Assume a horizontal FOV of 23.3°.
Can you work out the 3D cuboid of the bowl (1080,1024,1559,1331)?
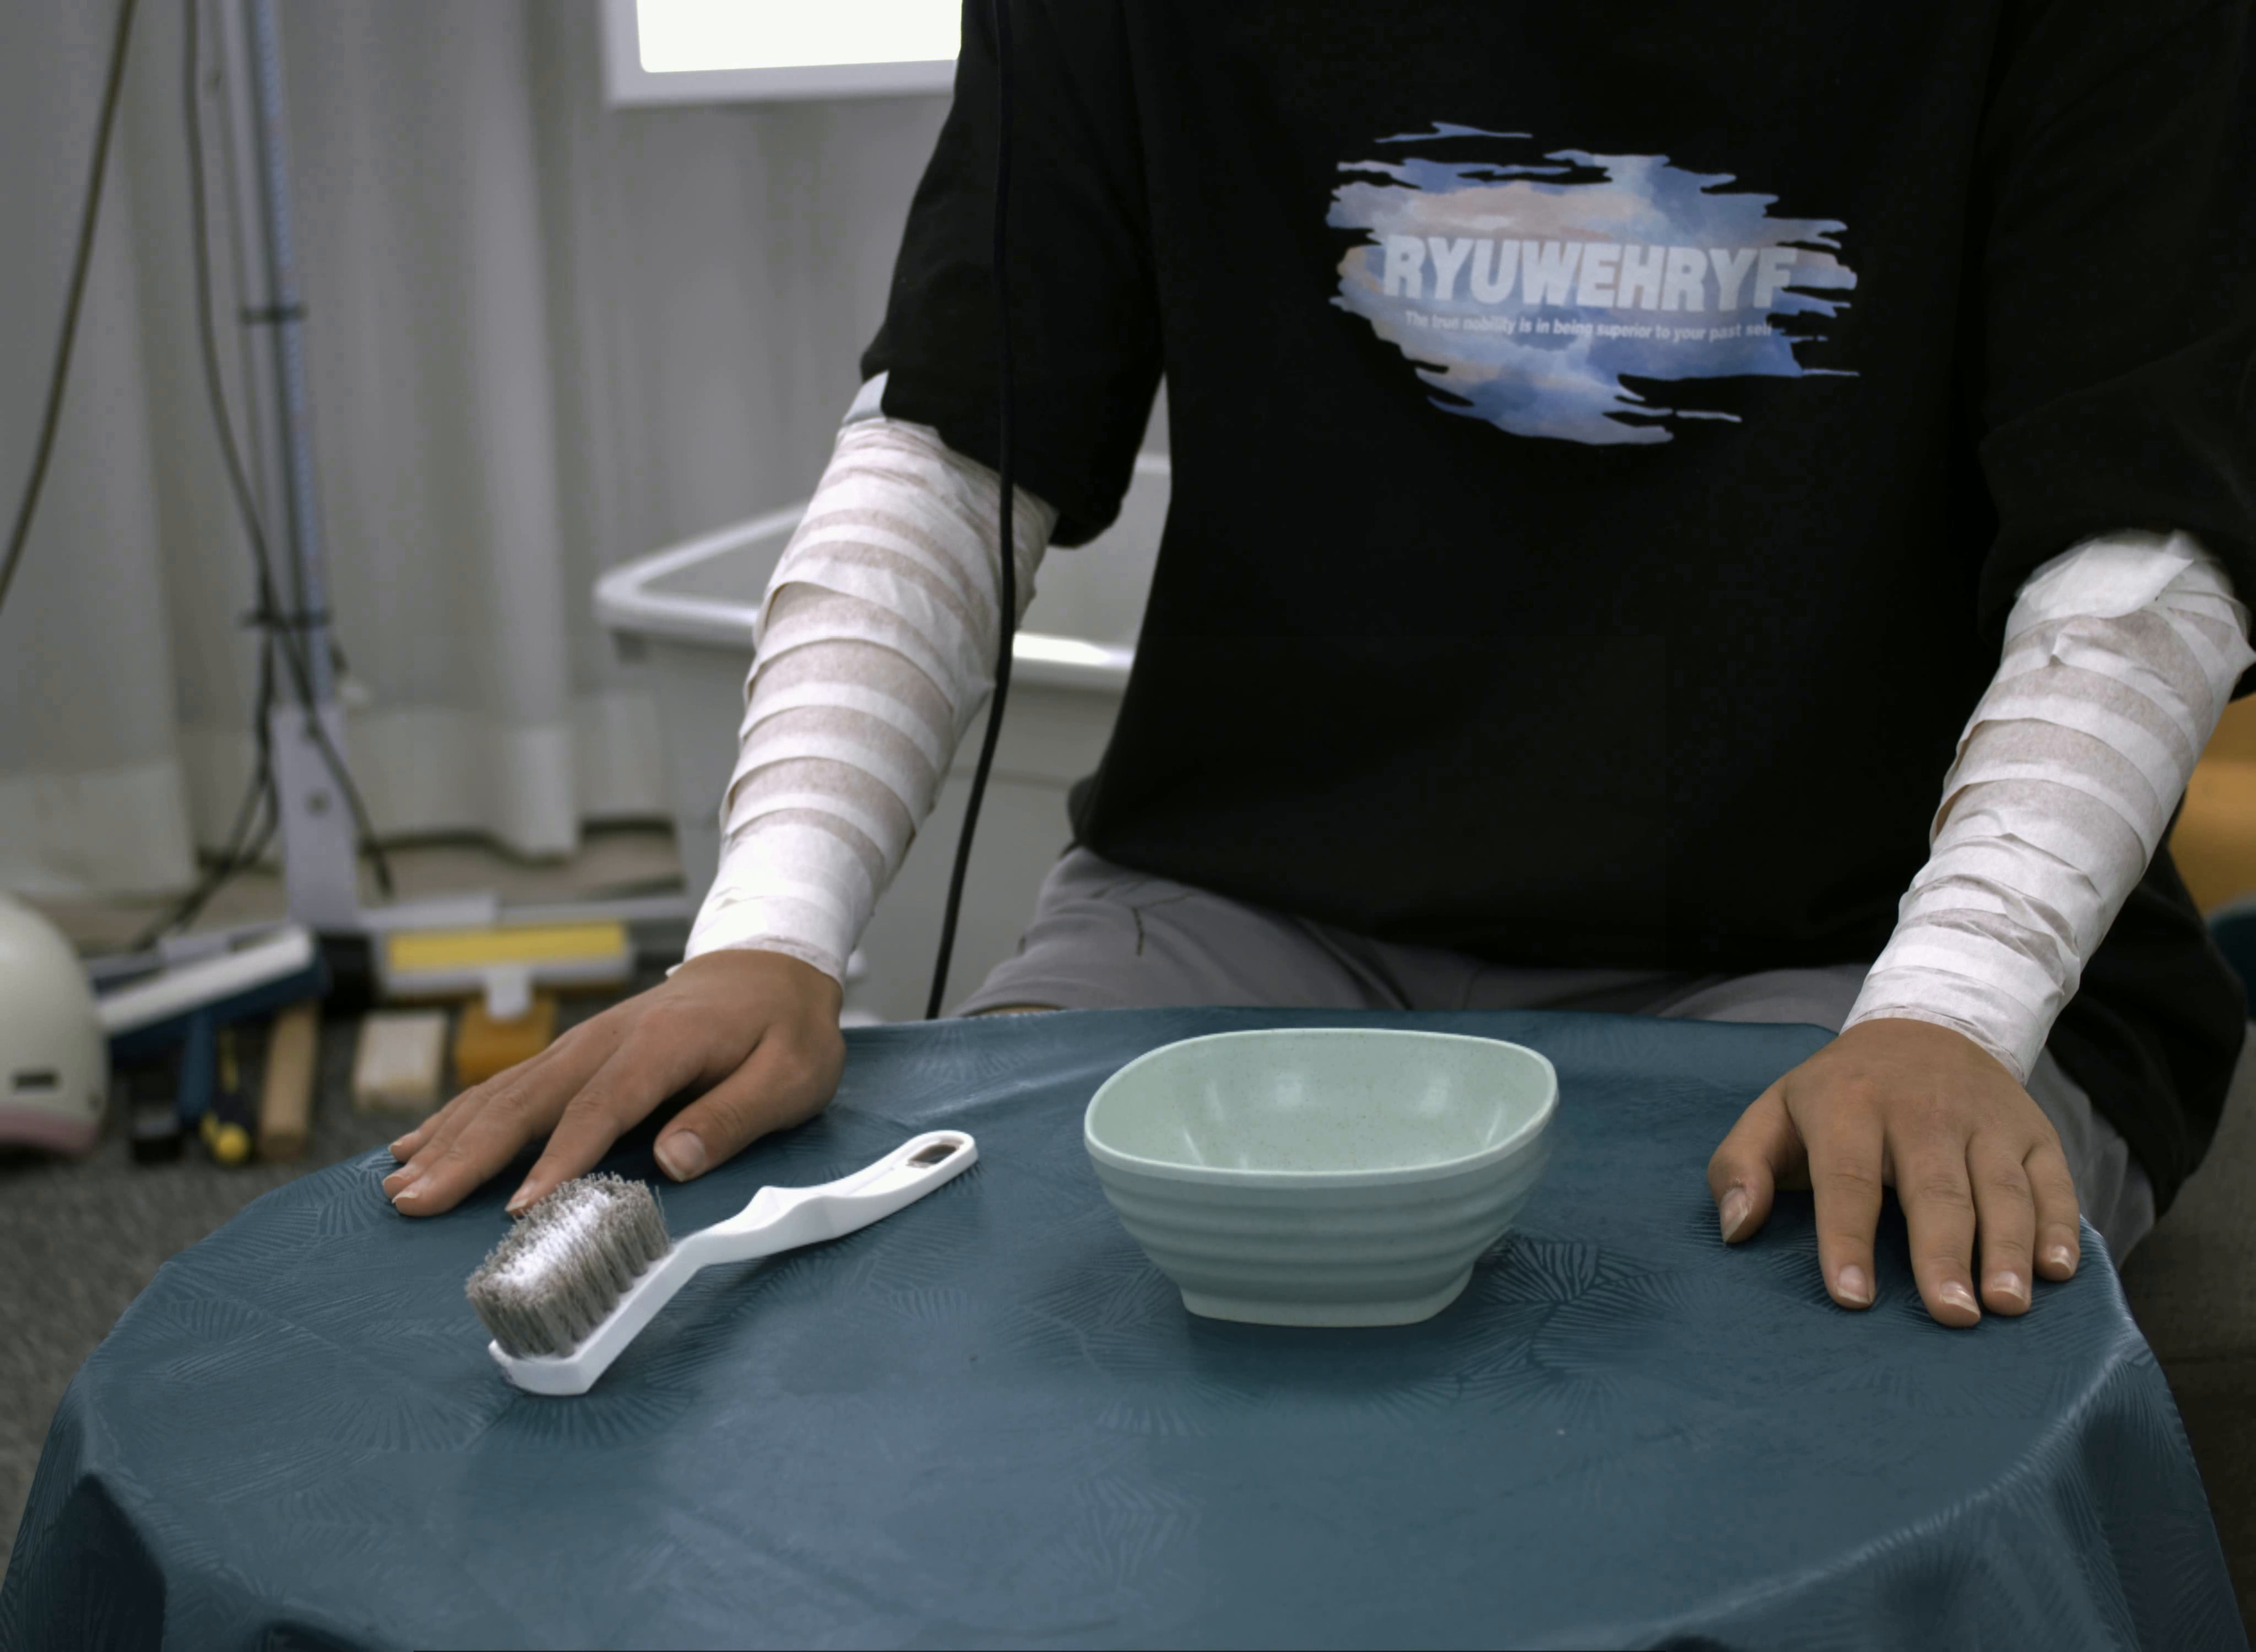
[{"bbox_3d":[0.057,0.107,1.619,0.151,0.058,0.152,-1,15,0],"label":"bowl"}]

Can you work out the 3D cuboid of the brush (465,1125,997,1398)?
[{"bbox_3d":[-0.114,0.111,1.646,0.034,0.050,0.244,6,18,32],"label":"brush"}]
